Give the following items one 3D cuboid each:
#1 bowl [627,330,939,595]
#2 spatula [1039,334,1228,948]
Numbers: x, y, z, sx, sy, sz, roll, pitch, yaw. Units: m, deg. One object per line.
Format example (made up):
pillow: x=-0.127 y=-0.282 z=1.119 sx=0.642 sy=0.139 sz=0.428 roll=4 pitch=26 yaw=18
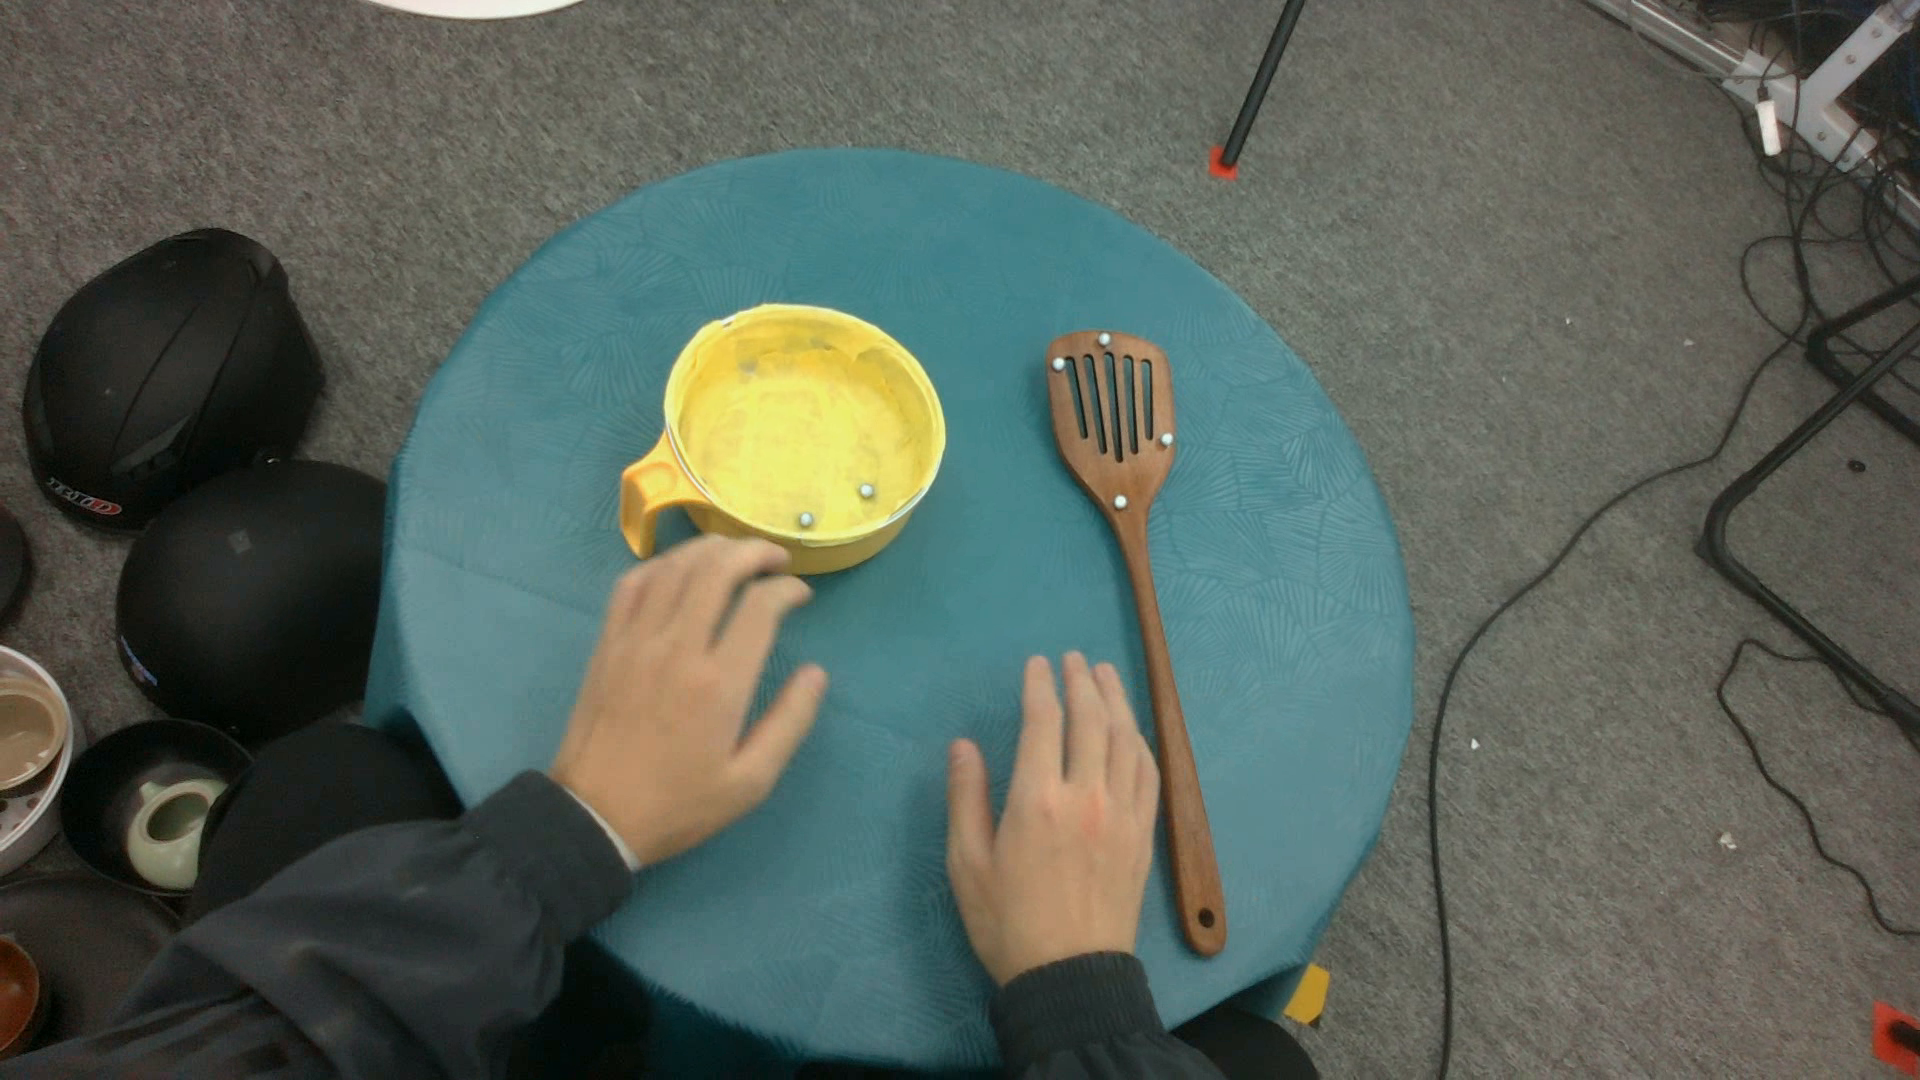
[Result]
bowl: x=-0.104 y=-0.035 z=0.780 sx=0.180 sy=0.074 sz=0.153 roll=-34 pitch=73 yaw=-27
spatula: x=0.110 y=0.043 z=0.810 sx=0.085 sy=0.024 sz=0.388 roll=-1 pitch=62 yaw=-12
